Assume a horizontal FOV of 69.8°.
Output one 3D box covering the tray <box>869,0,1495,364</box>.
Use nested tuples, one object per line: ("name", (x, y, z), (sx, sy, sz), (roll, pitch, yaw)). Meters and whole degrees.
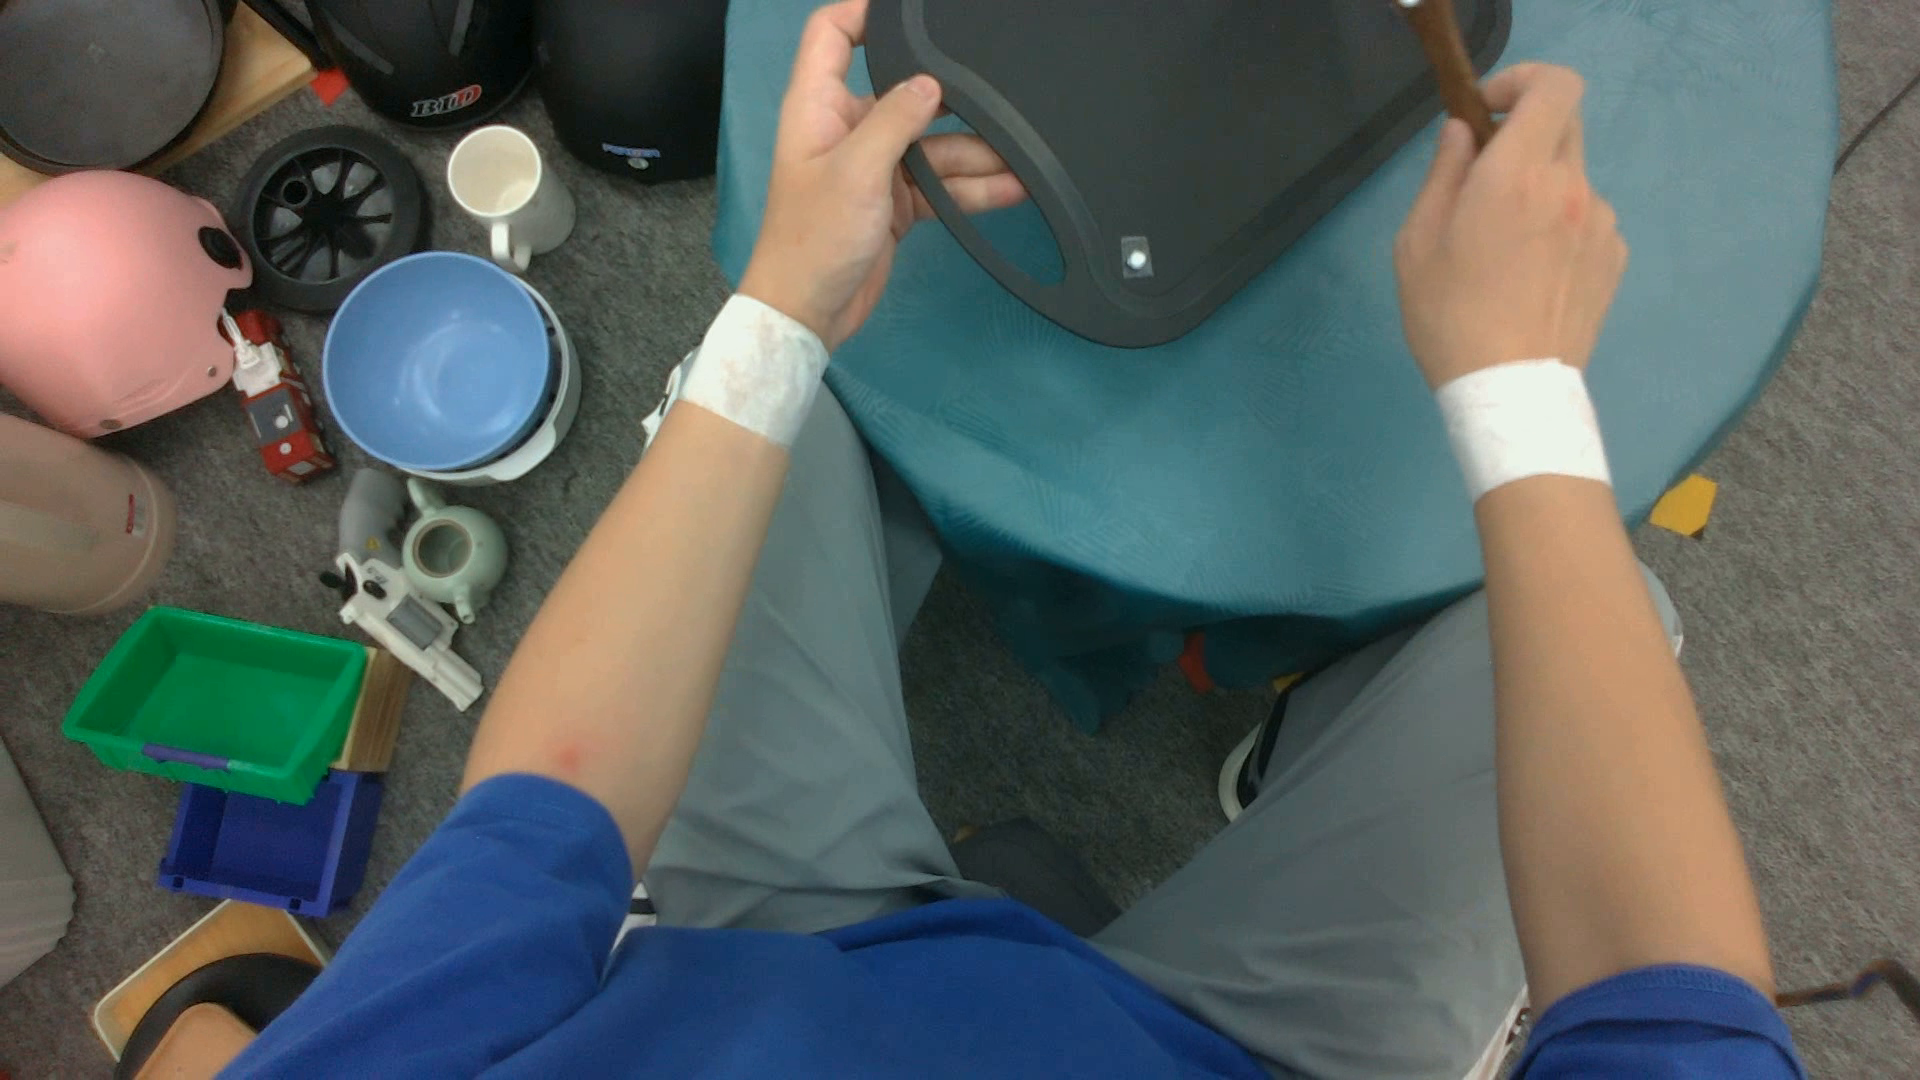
("tray", (0.113, -0.233, 0.658), (0.326, 0.010, 0.211), (-41, 96, -17))

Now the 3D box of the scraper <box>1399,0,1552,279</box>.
("scraper", (0.227, -0.220, 0.623), (0.011, 0.075, 0.211), (-16, 87, -15))
